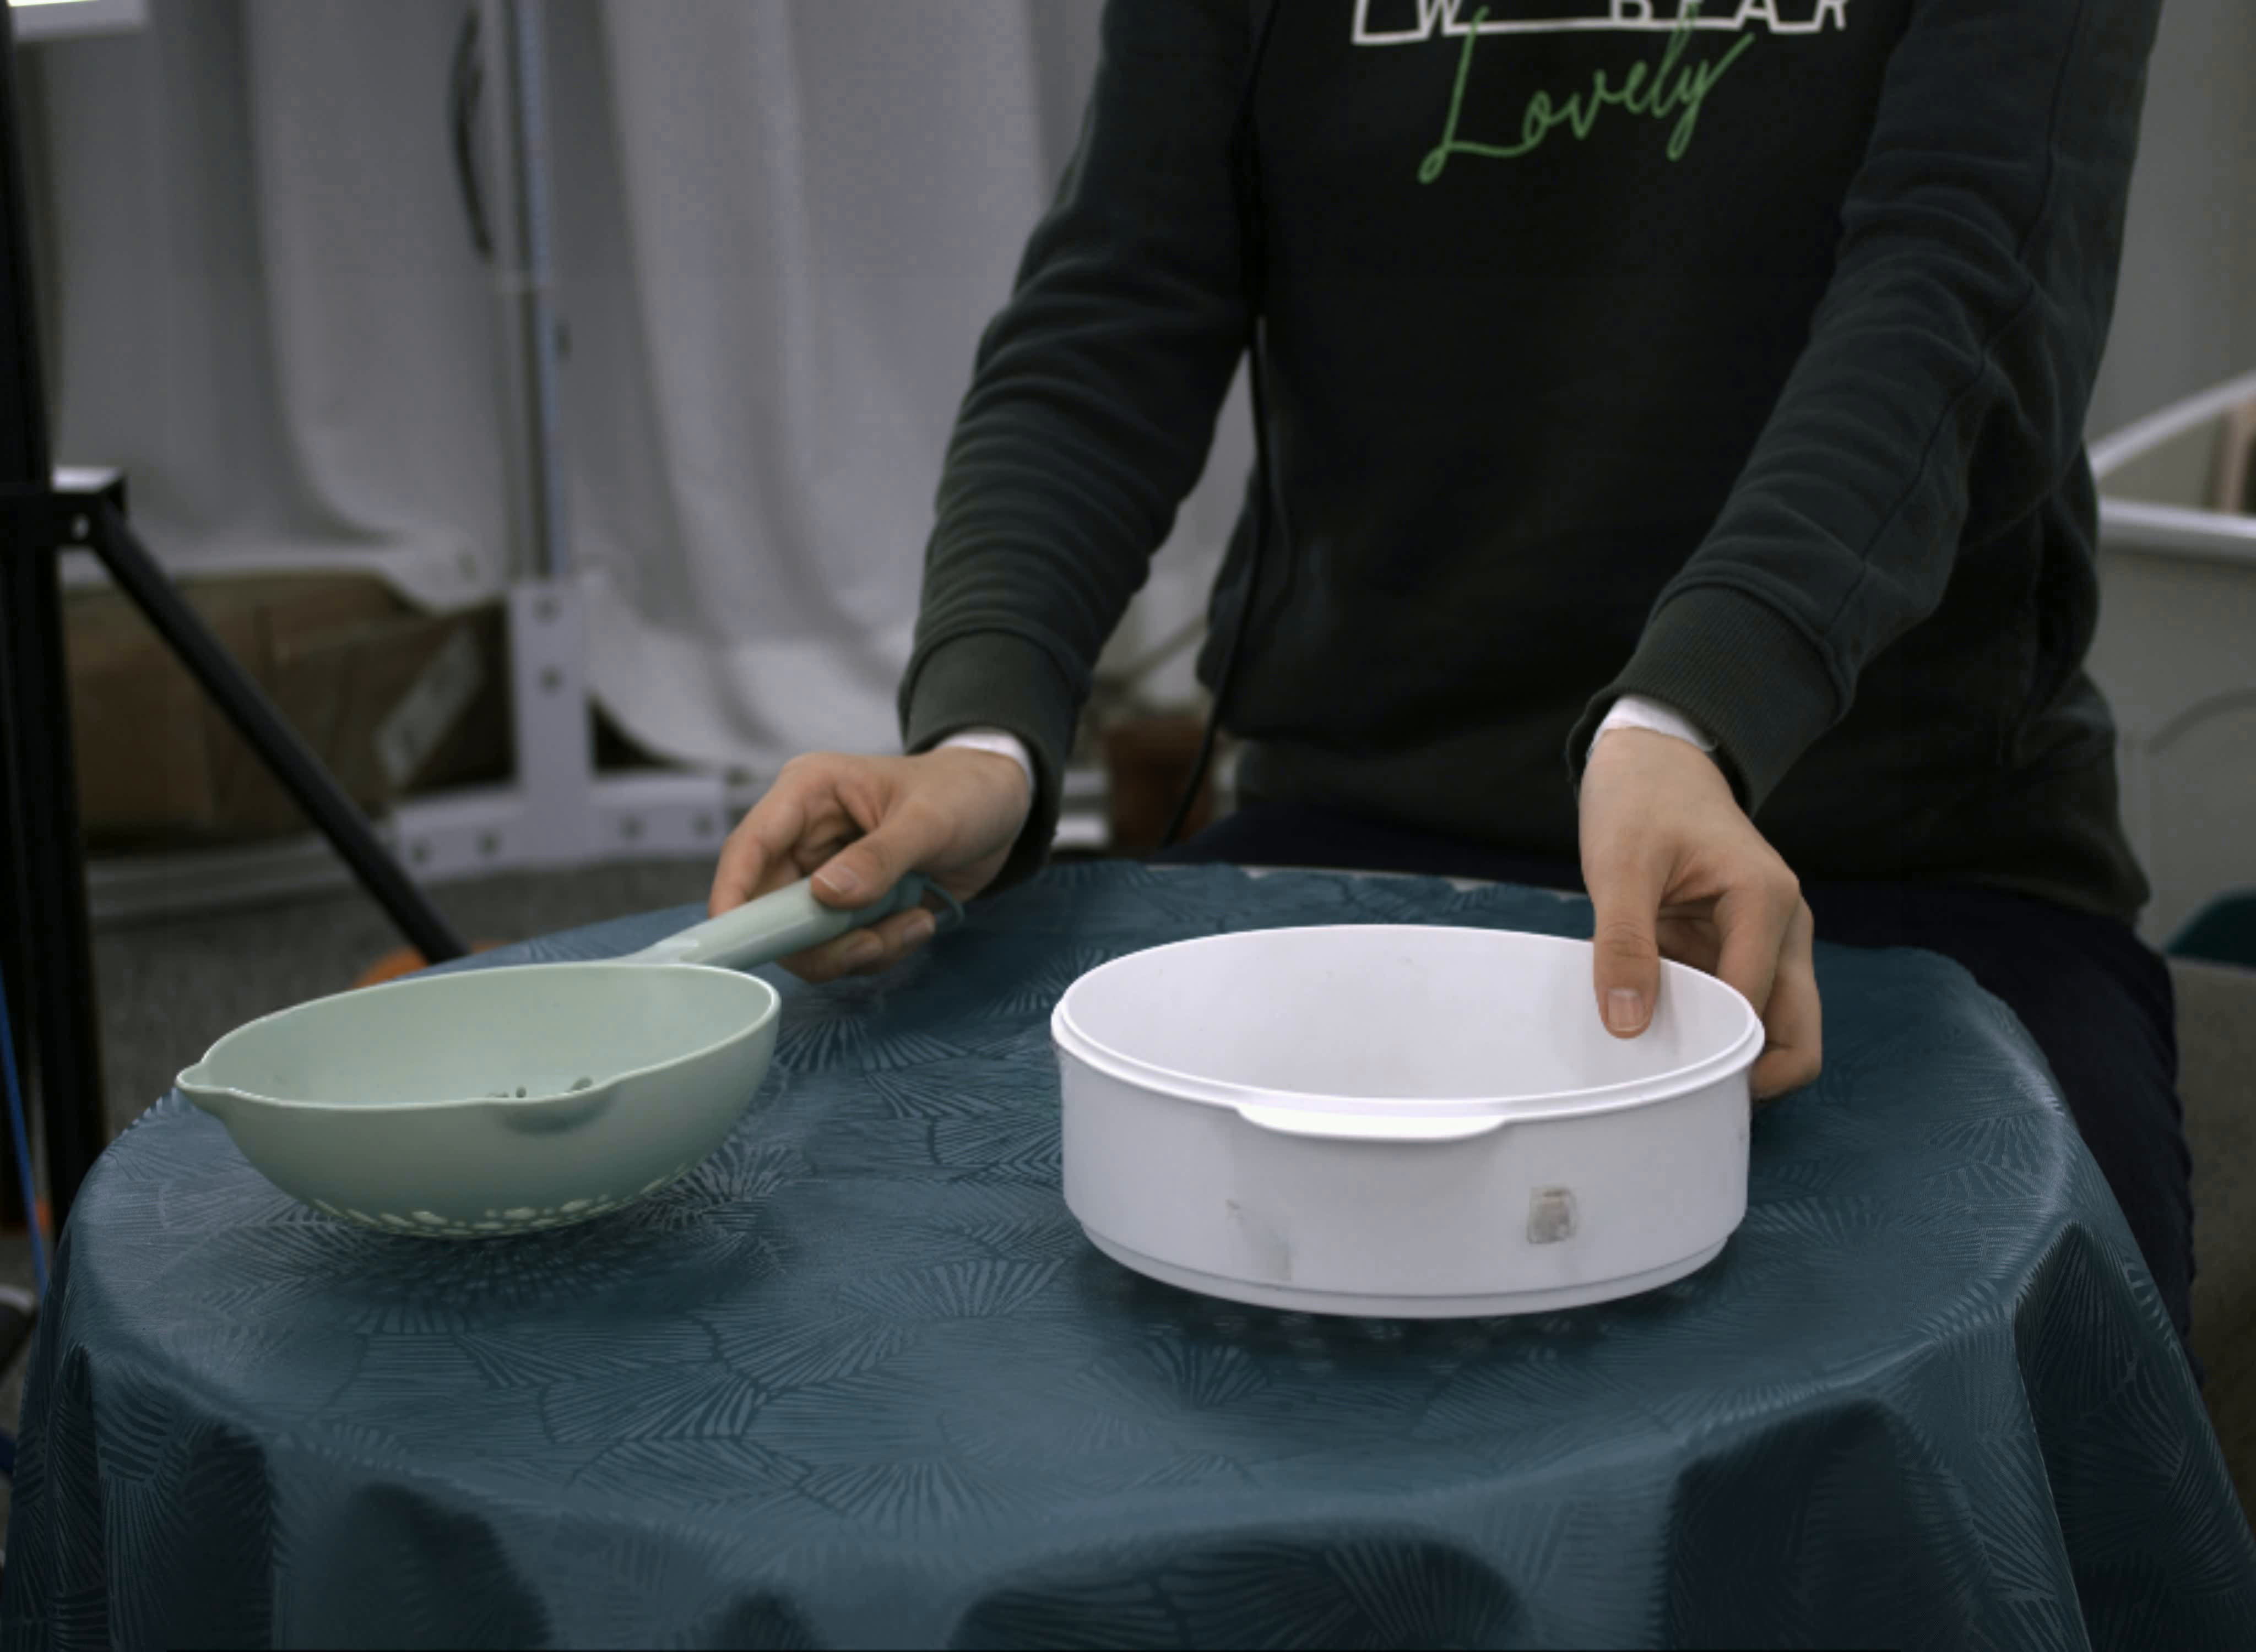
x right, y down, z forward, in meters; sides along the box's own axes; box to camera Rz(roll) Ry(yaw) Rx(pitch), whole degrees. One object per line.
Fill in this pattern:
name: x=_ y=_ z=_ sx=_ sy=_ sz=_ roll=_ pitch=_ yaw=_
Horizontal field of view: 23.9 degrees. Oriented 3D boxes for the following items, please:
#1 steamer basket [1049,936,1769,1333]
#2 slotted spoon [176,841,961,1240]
steamer basket: x=0.078 y=0.086 z=1.489 sx=0.202 sy=0.069 sz=0.229 roll=3 pitch=12 yaw=8
slotted spoon: x=-0.141 y=0.050 z=1.637 sx=0.172 sy=0.075 sz=0.354 roll=0 pitch=21 yaw=27
